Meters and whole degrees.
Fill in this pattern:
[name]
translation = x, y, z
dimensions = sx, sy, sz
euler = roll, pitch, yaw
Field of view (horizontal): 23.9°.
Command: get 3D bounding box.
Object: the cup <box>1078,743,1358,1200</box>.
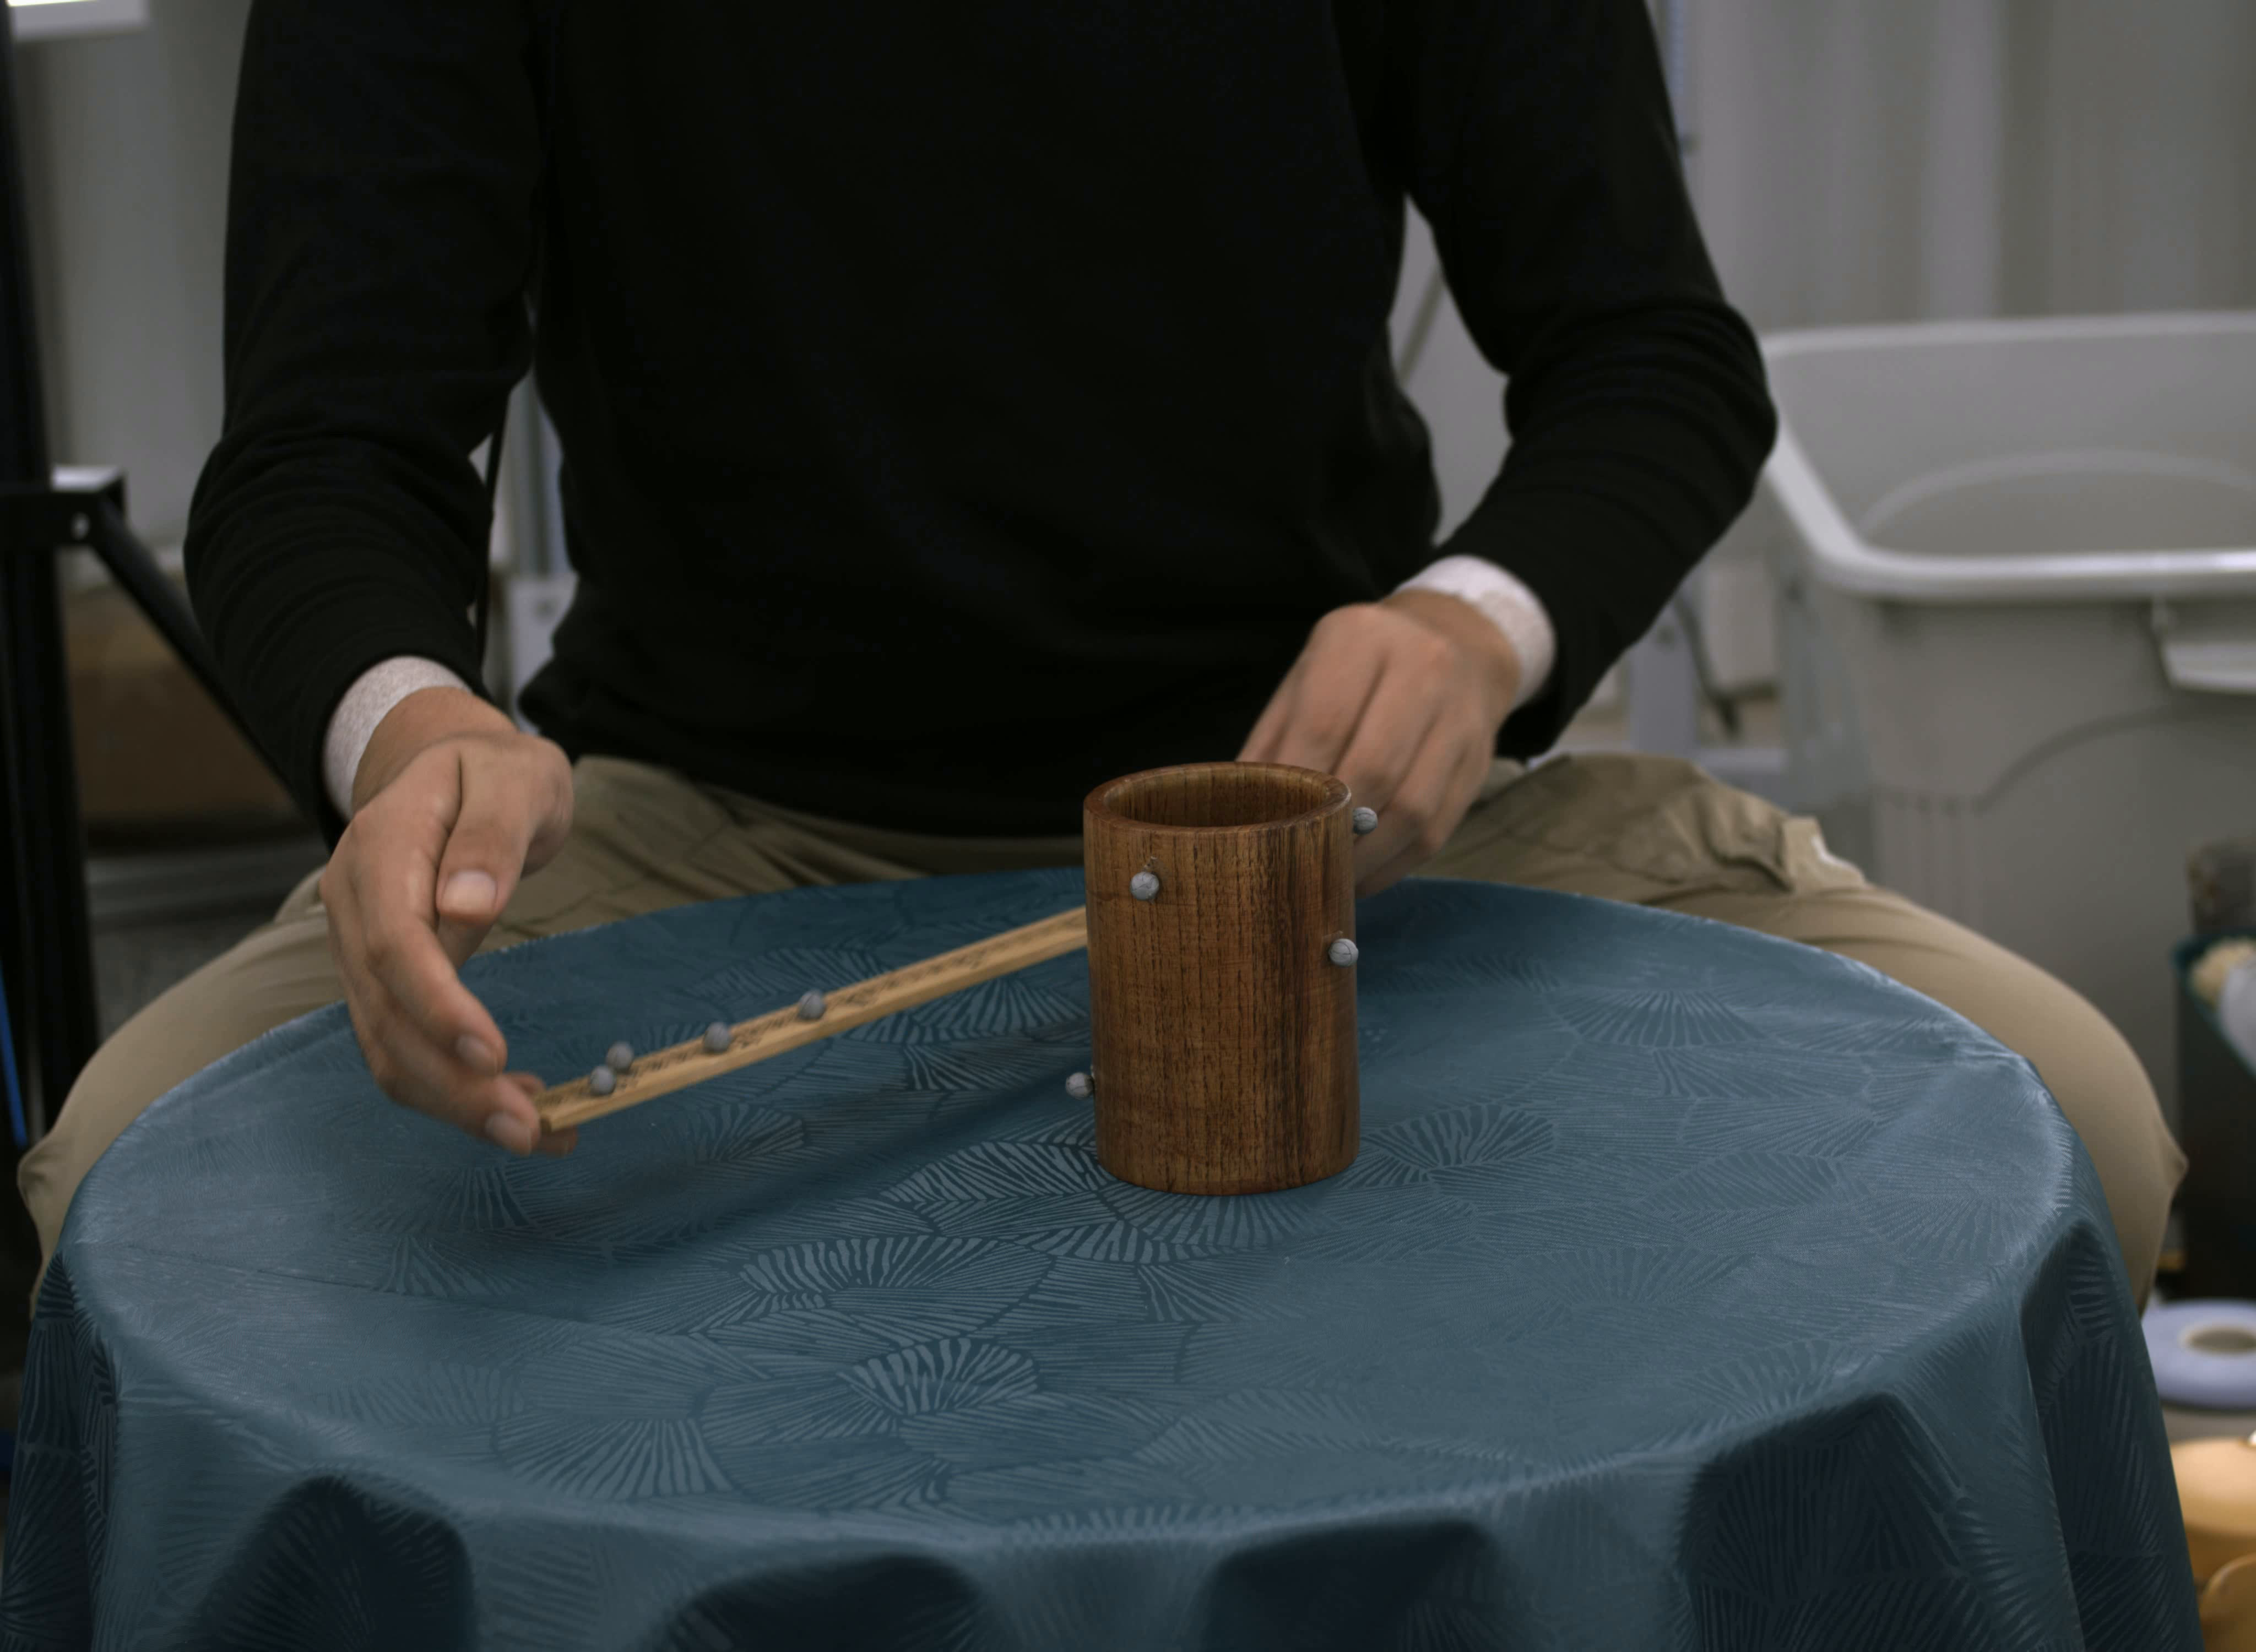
[cup]
translation = 0.027, 0.042, 1.572
dimensions = 0.087, 0.118, 0.088
euler = -1, 15, -1

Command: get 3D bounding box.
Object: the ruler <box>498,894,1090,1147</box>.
[ruler]
translation = -0.063, 0.049, 1.630
dimensions = 0.028, 0.022, 0.324
euler = 10, 20, 42
